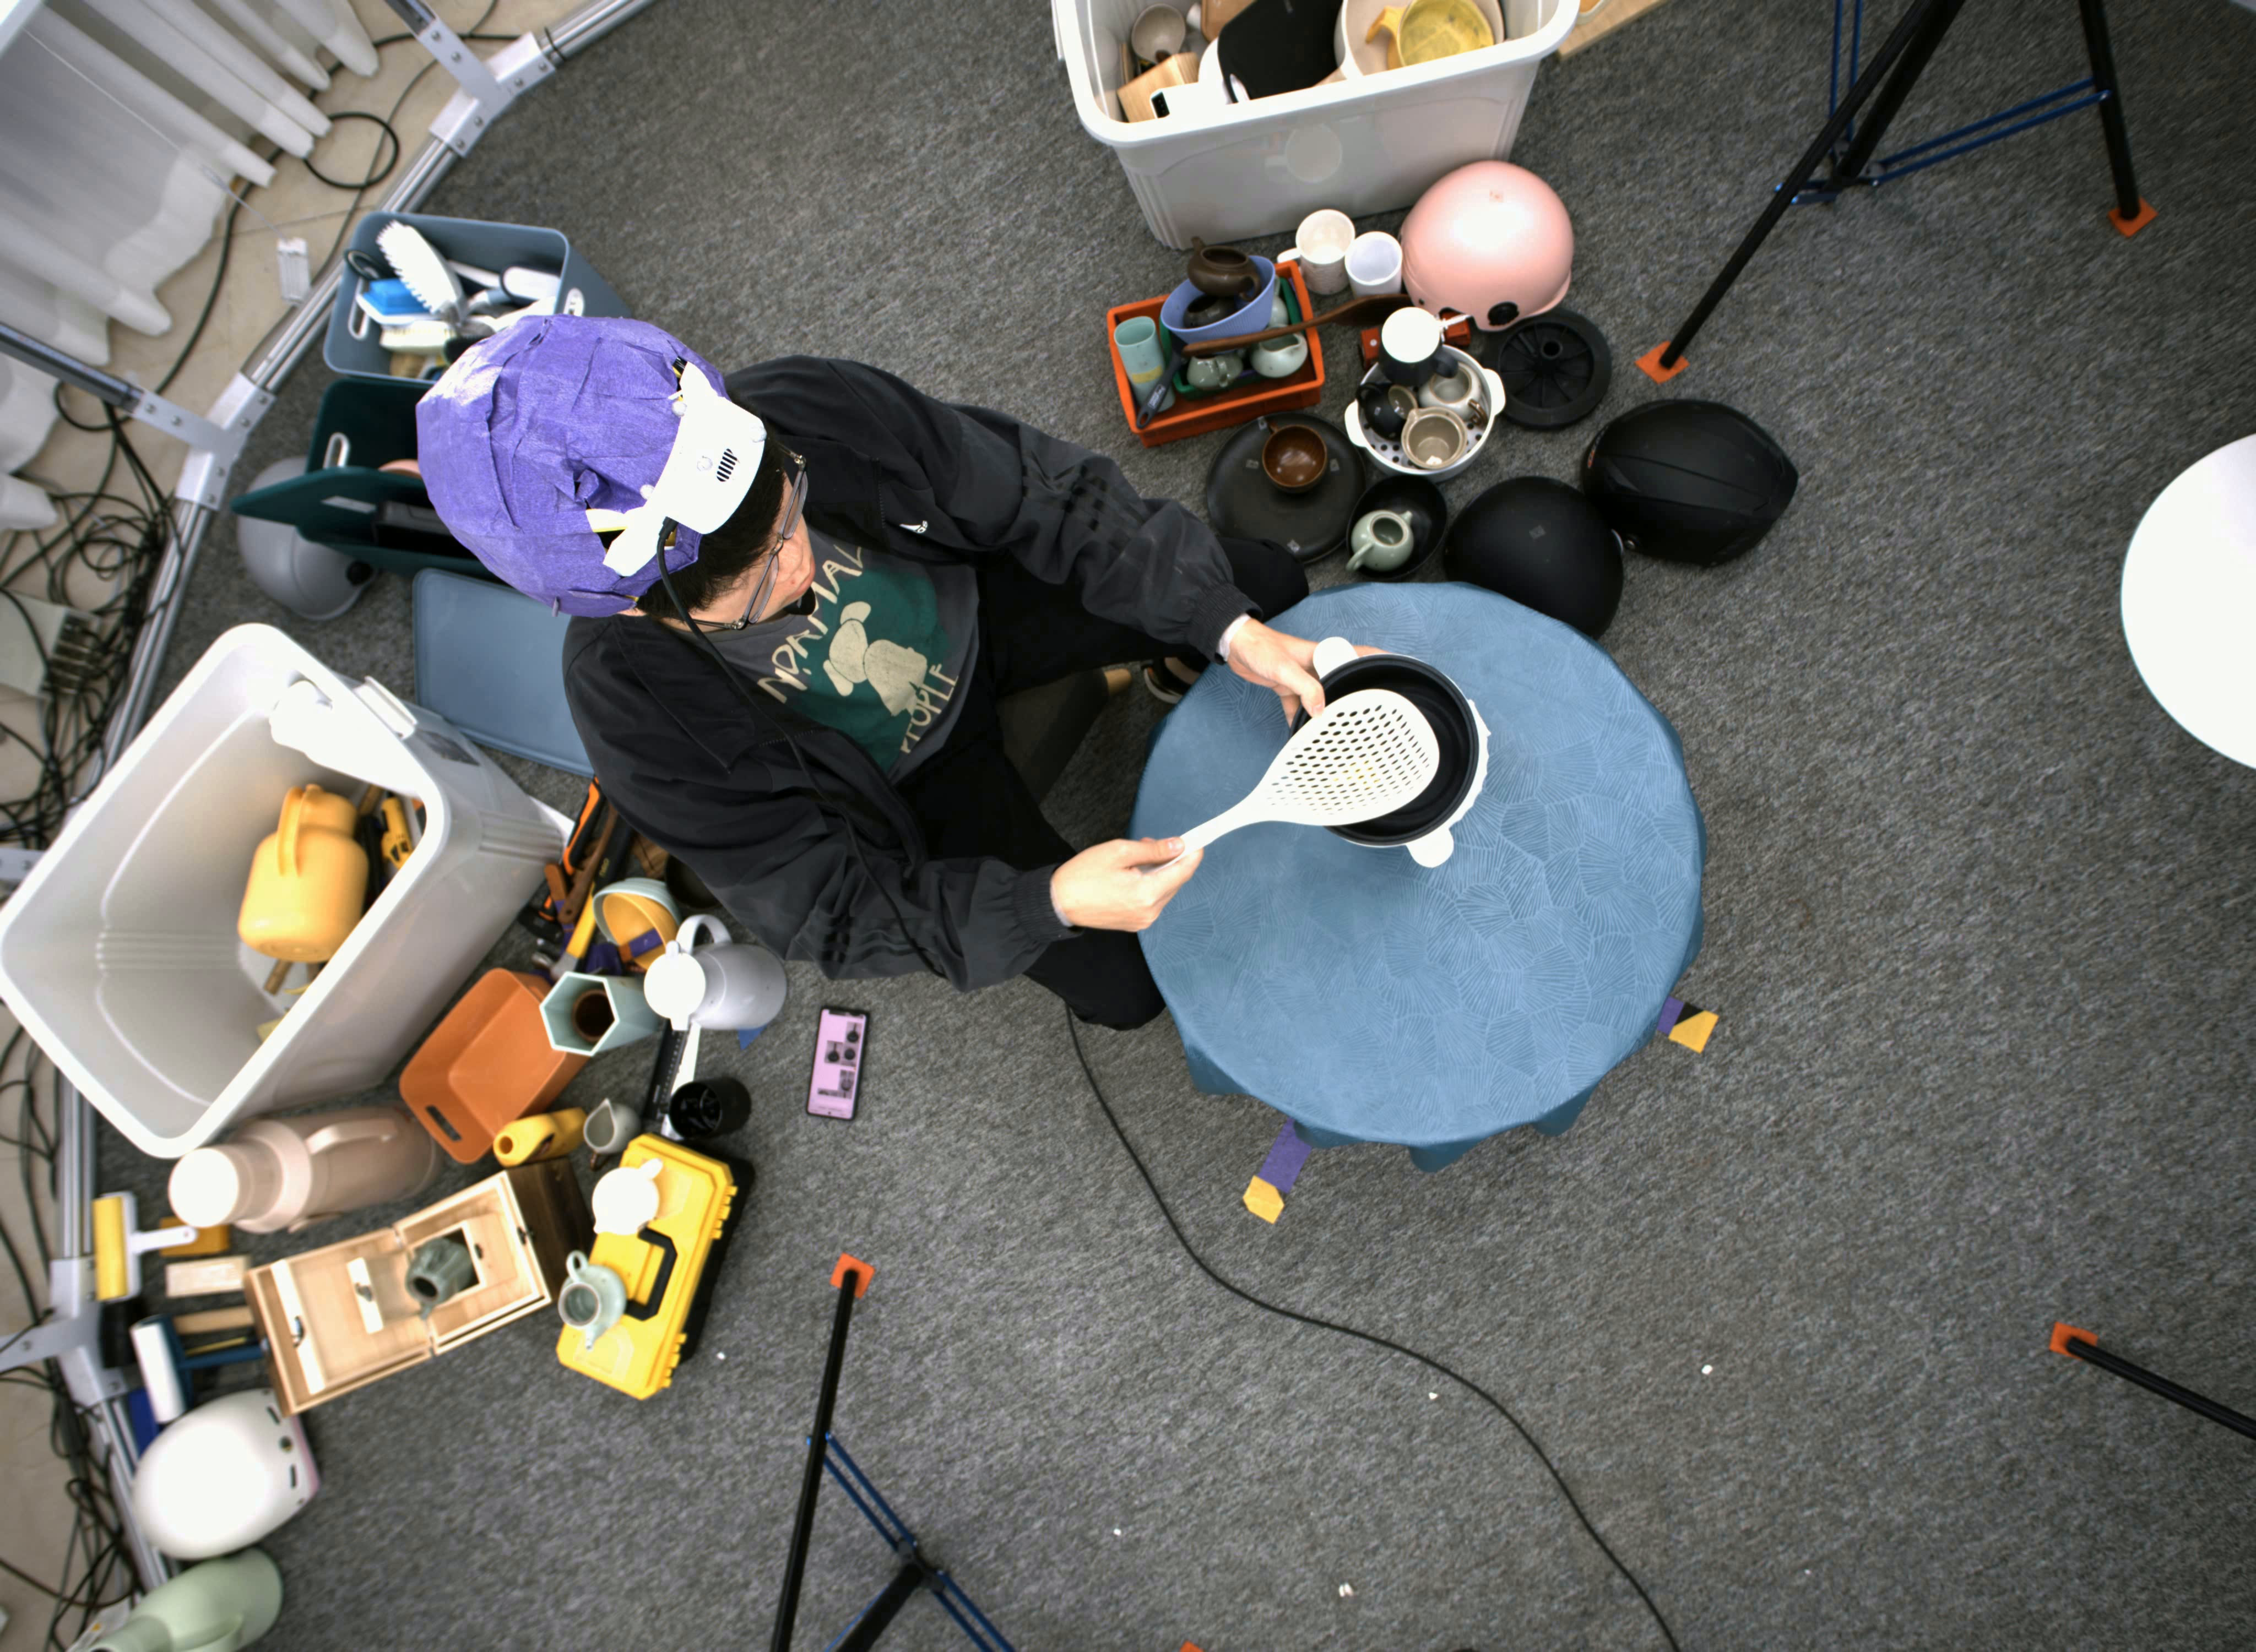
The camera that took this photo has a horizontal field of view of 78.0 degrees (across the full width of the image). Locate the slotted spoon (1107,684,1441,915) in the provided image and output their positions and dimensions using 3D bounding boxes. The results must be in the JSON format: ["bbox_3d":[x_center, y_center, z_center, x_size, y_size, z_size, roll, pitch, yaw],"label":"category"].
[{"bbox_3d":[0.128,-0.015,1.298,0.349,0.051,0.134,-27,60,3],"label":"slotted spoon"}]

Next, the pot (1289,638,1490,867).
[{"bbox_3d":[0.257,-0.066,1.344,0.192,0.142,0.238,-29,79,16],"label":"pot"}]
